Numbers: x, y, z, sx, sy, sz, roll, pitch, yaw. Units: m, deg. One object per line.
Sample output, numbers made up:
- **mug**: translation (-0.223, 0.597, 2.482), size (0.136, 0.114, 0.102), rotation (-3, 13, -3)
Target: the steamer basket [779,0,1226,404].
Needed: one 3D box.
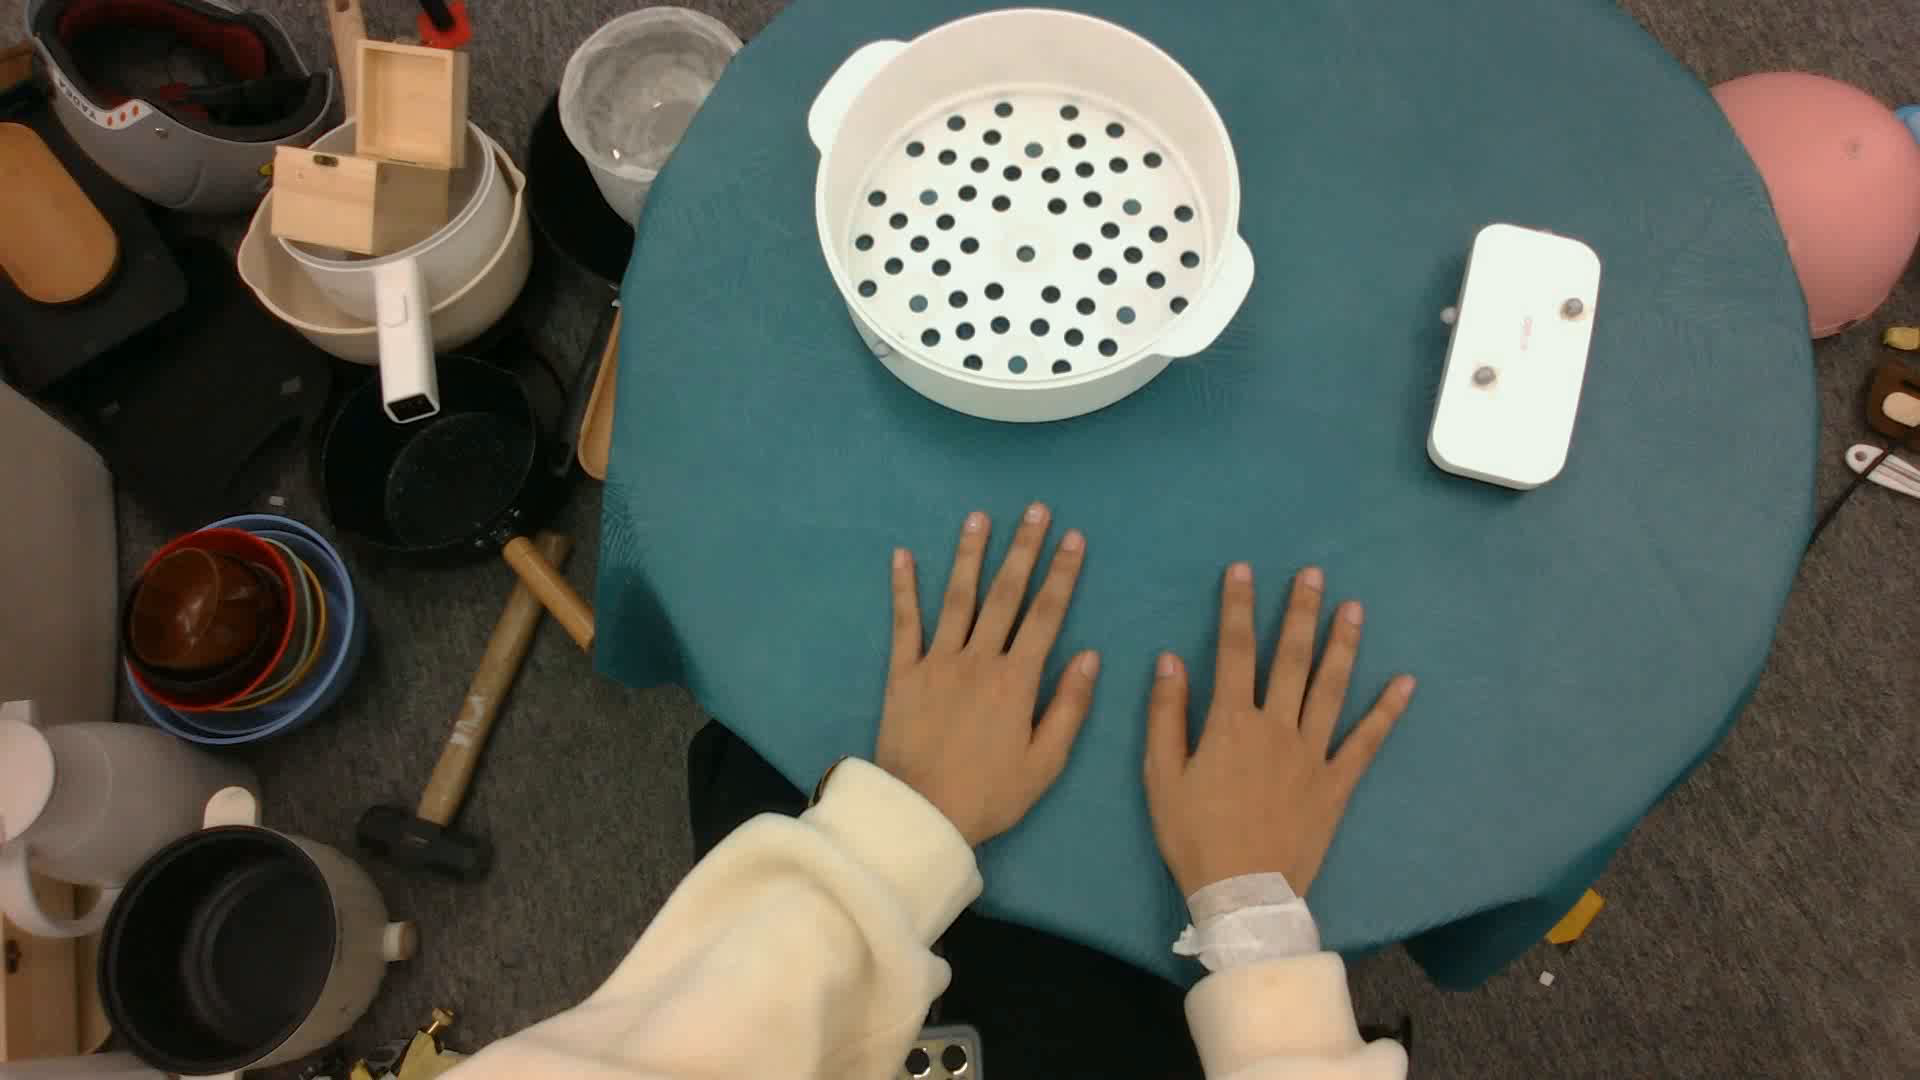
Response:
- **steamer basket**: translation (0.019, -0.165, 0.682), size (0.230, 0.069, 0.202), rotation (32, 77, 12)

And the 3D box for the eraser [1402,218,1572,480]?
- **eraser**: translation (0.256, -0.095, 0.673), size (0.063, 0.034, 0.131), rotation (17, 74, 6)
